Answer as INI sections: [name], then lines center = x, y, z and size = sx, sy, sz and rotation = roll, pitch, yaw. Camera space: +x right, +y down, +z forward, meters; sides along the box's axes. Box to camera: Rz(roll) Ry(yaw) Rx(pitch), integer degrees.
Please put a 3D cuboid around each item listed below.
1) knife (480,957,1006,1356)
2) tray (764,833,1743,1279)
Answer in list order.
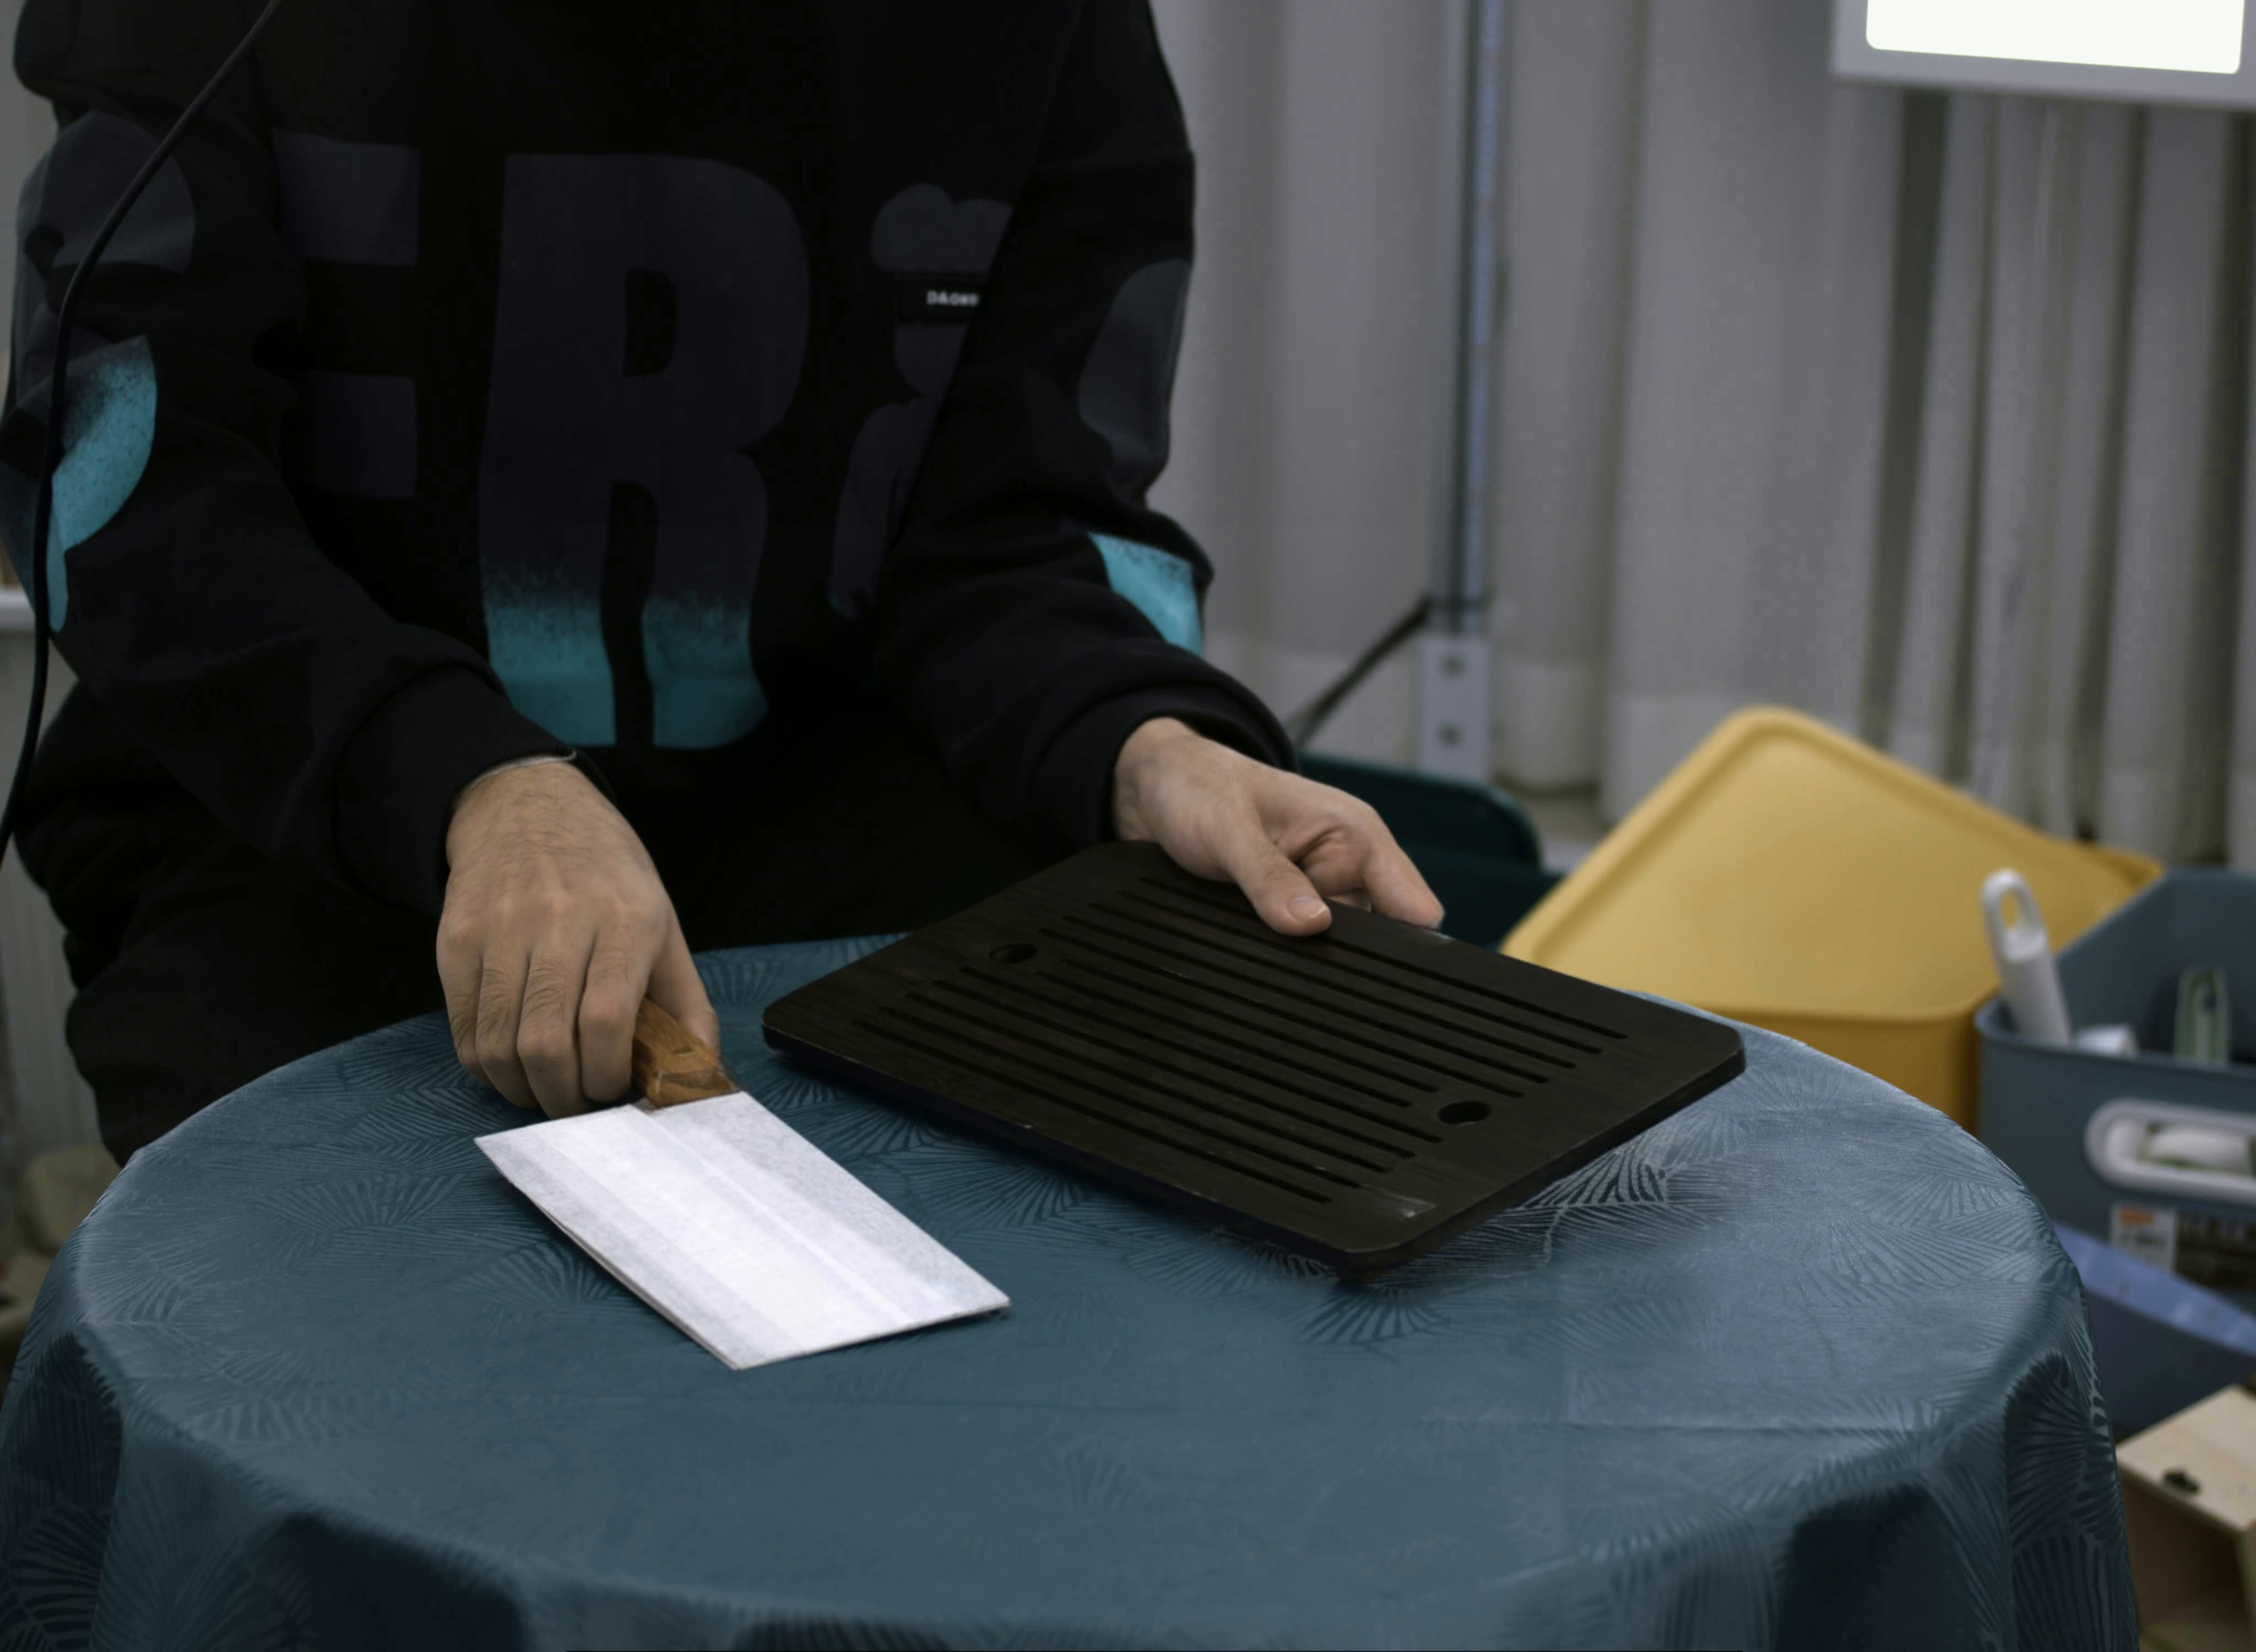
[knife]
center = -0.144, 0.101, 1.619
size = 0.093, 0.021, 0.301
rotation = -11, 23, -27
[tray]
center = 0.035, 0.069, 1.685
size = 0.170, 0.019, 0.302
rotation = -26, 28, -34
